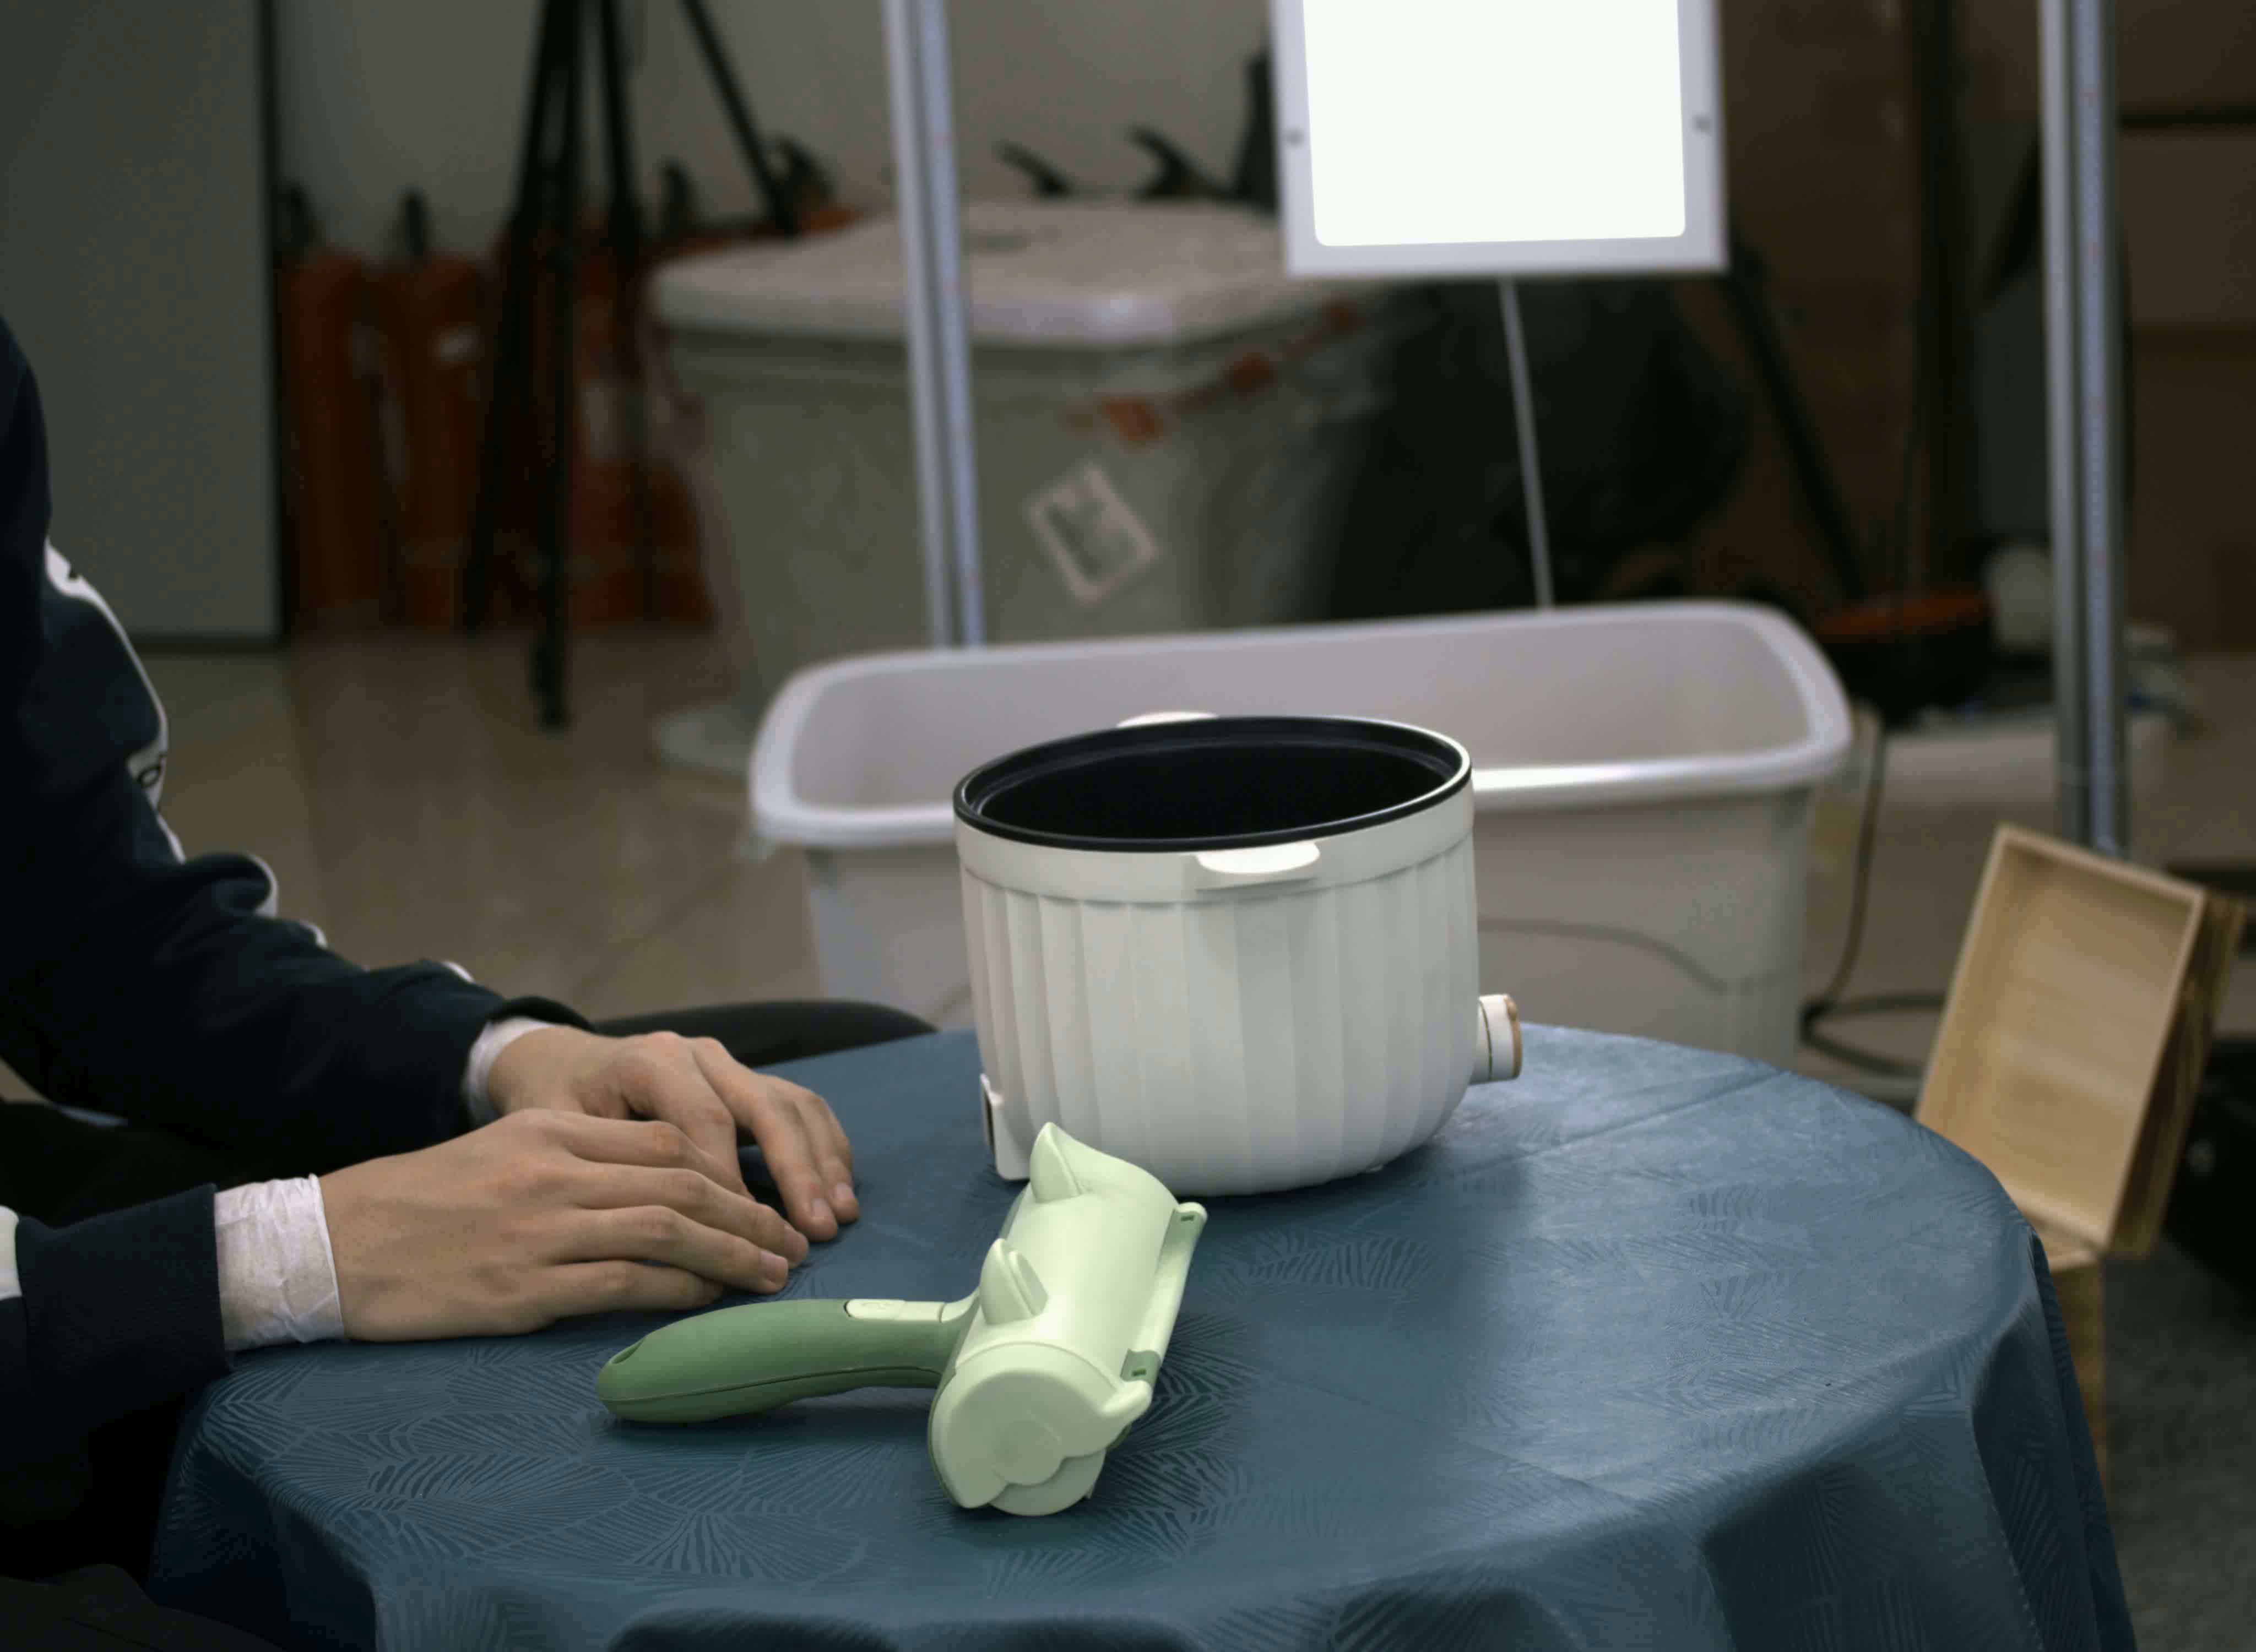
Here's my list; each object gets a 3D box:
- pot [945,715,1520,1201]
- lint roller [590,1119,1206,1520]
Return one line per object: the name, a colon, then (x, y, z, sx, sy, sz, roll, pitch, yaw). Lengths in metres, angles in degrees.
pot: (0.038, 0.046, 1.918, 0.189, 0.143, 0.241, -10, 15, -5)
lint roller: (-0.075, 0.144, 1.691, 0.184, 0.082, 0.197, 2, 15, 7)
